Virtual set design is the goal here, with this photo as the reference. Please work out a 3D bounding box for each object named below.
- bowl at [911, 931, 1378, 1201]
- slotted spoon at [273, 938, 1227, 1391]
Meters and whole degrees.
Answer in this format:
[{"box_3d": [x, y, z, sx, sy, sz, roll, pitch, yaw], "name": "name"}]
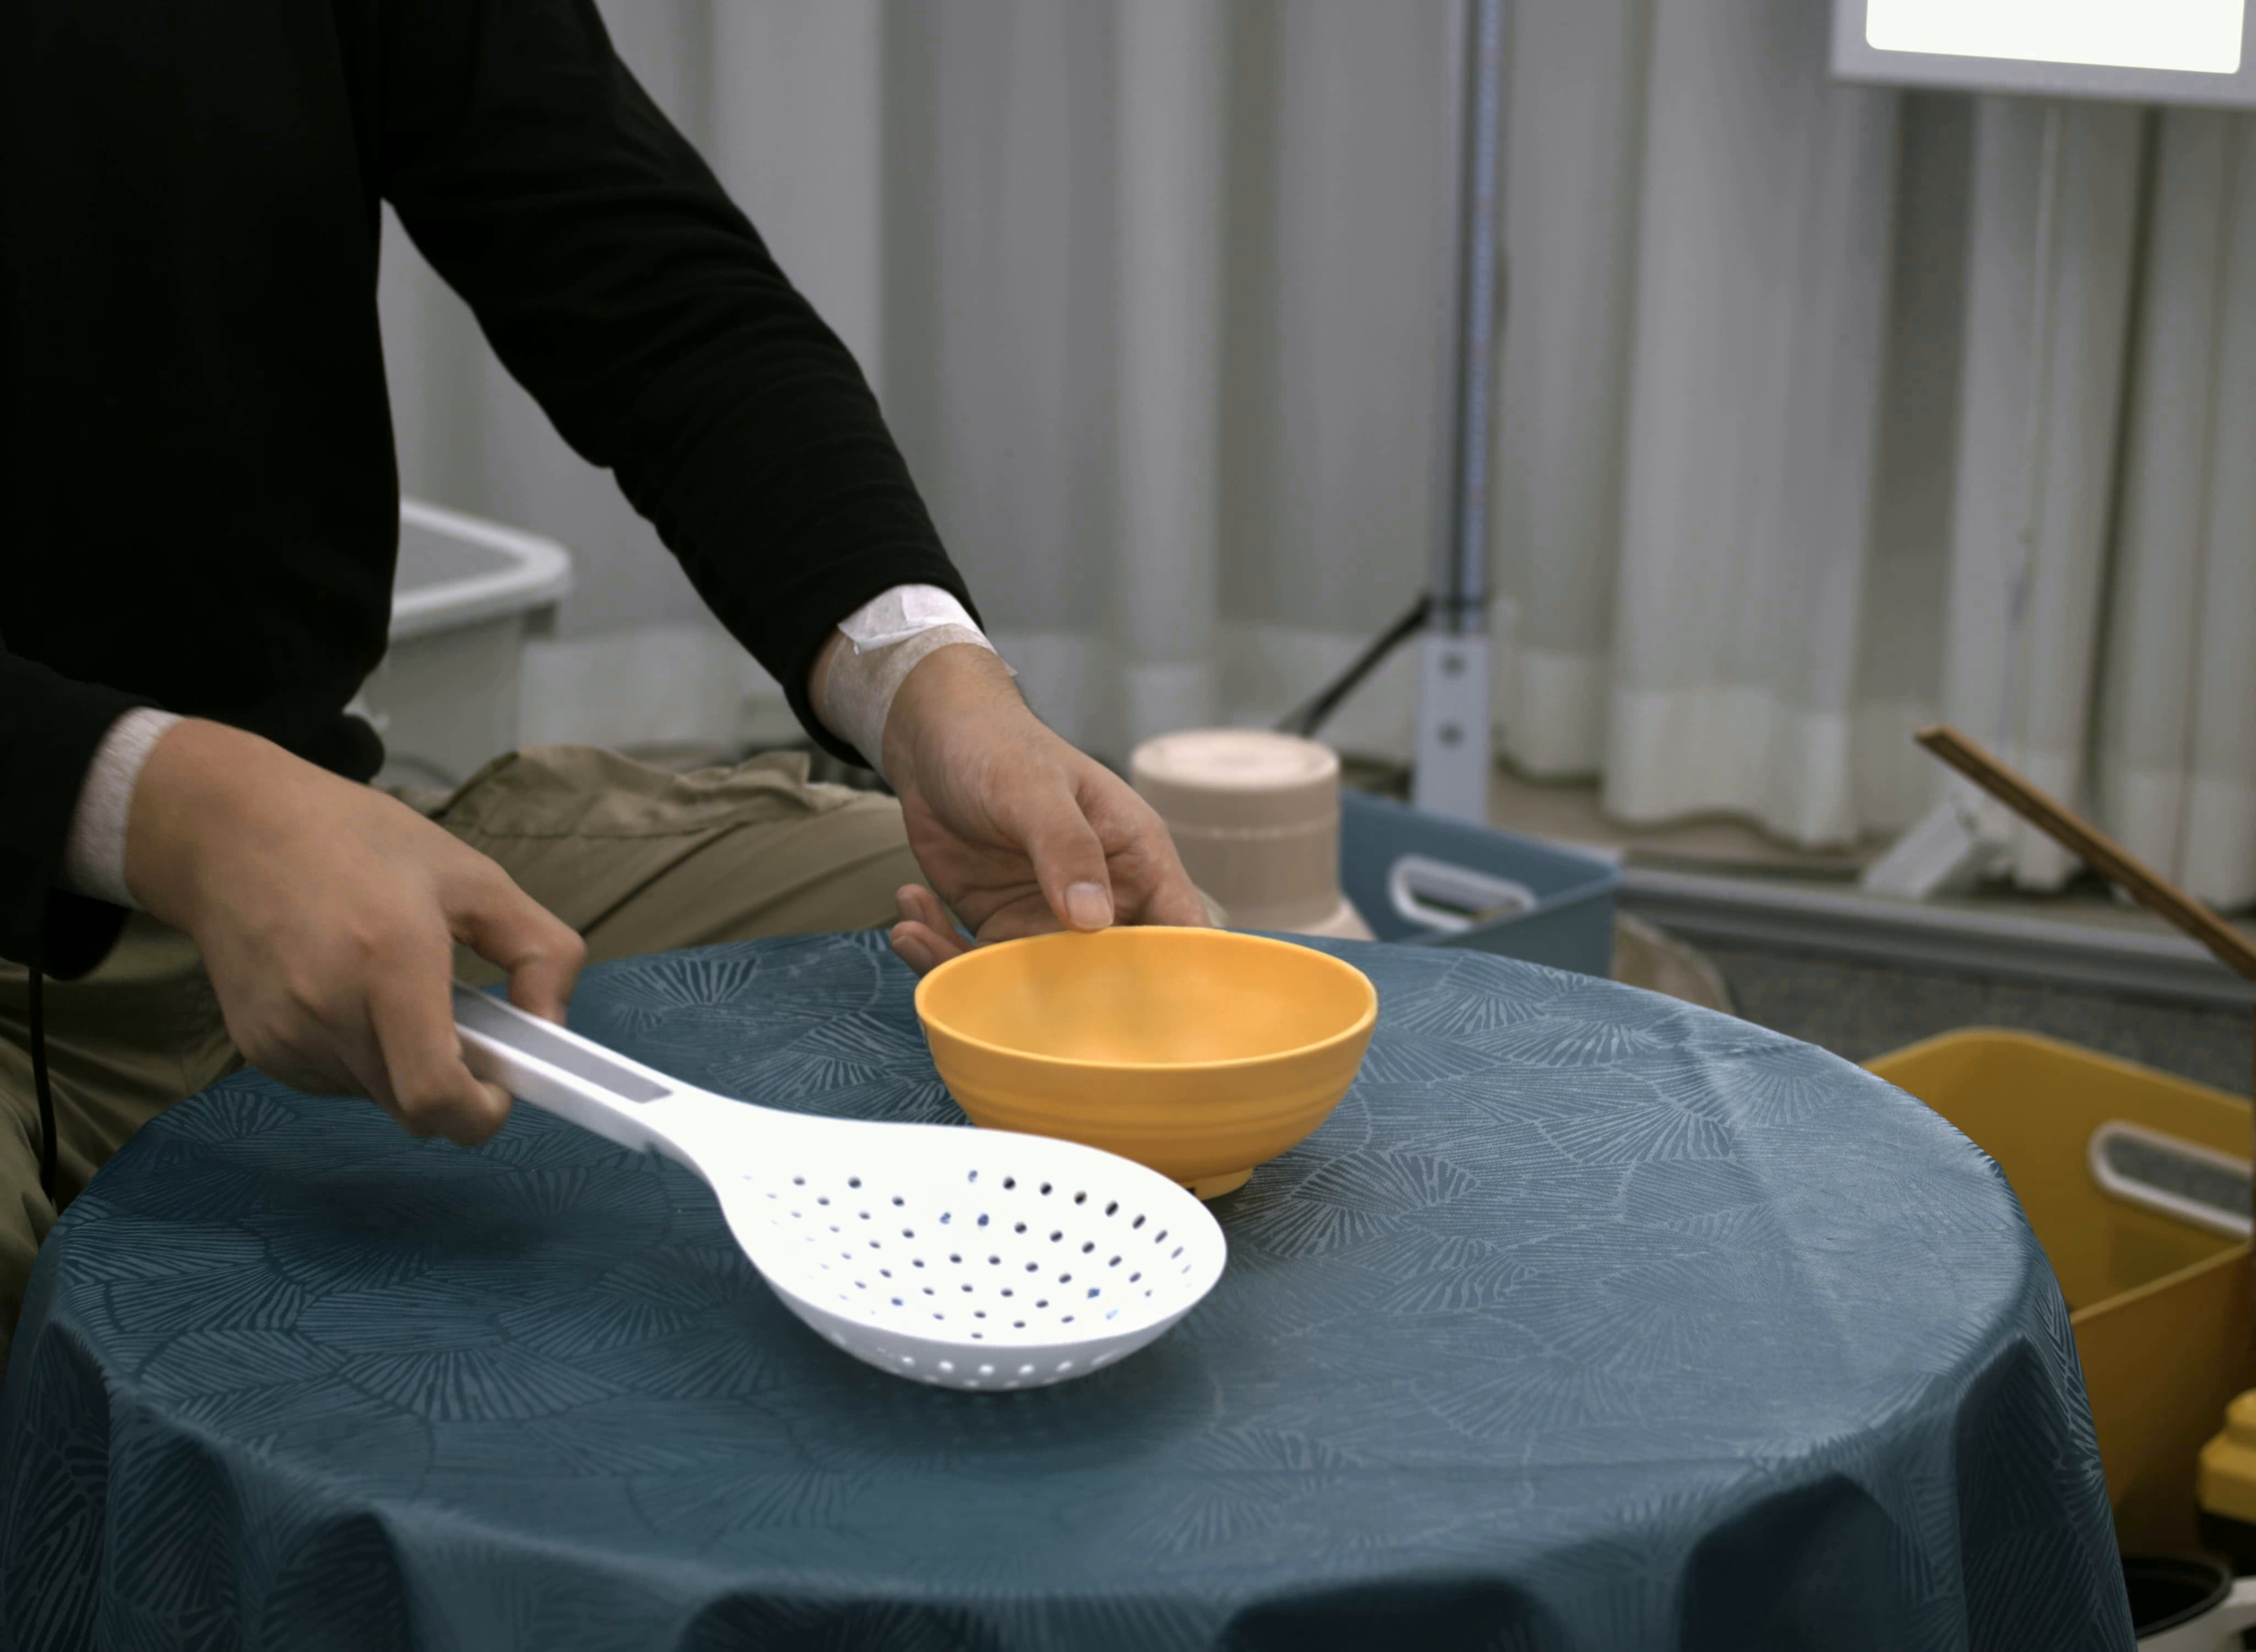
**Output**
[{"box_3d": [0.004, 0.081, 1.630, 0.145, 0.060, 0.144, 2, 15, 0], "name": "bowl"}, {"box_3d": [-0.123, 0.091, 1.527, 0.345, 0.046, 0.136, 25, 29, 32], "name": "slotted spoon"}]
